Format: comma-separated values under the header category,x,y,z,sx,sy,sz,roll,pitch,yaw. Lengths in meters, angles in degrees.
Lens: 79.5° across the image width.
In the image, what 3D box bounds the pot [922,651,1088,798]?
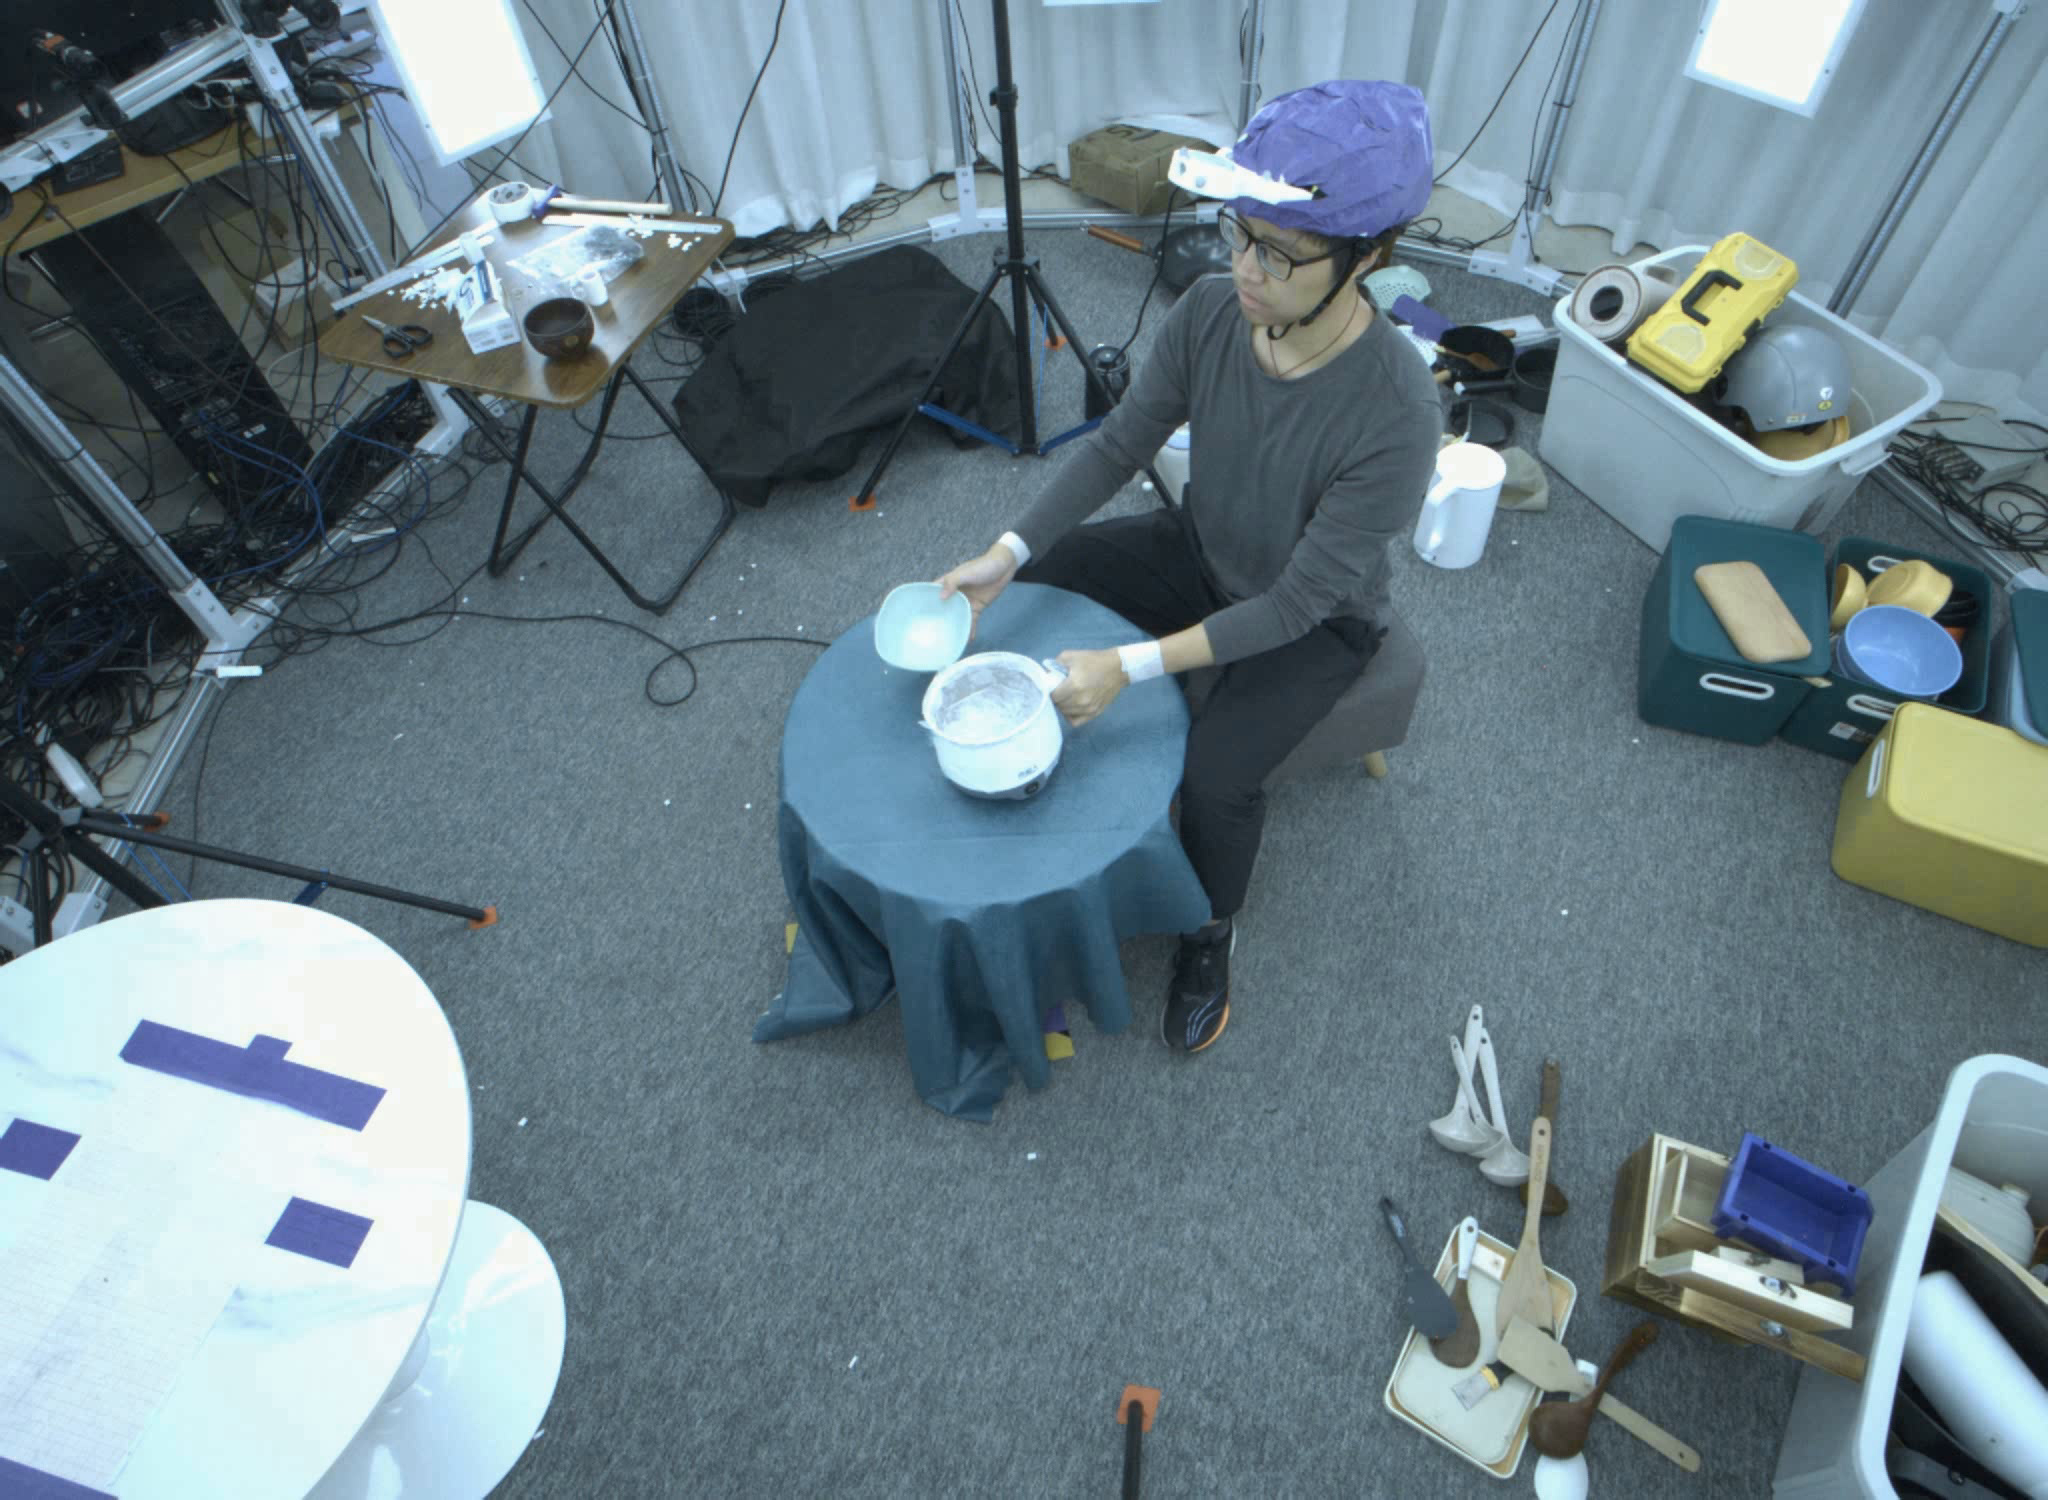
category,x,y,z,sx,sy,sz,roll,pitch,yaw
pot,-0.019,-0.045,1.729,0.235,0.138,0.175,-30,50,-15

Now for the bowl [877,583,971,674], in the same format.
category,x,y,z,sx,sy,sz,roll,pitch,yaw
bowl,-0.142,-0.171,1.805,0.151,0.059,0.150,-2,76,7
